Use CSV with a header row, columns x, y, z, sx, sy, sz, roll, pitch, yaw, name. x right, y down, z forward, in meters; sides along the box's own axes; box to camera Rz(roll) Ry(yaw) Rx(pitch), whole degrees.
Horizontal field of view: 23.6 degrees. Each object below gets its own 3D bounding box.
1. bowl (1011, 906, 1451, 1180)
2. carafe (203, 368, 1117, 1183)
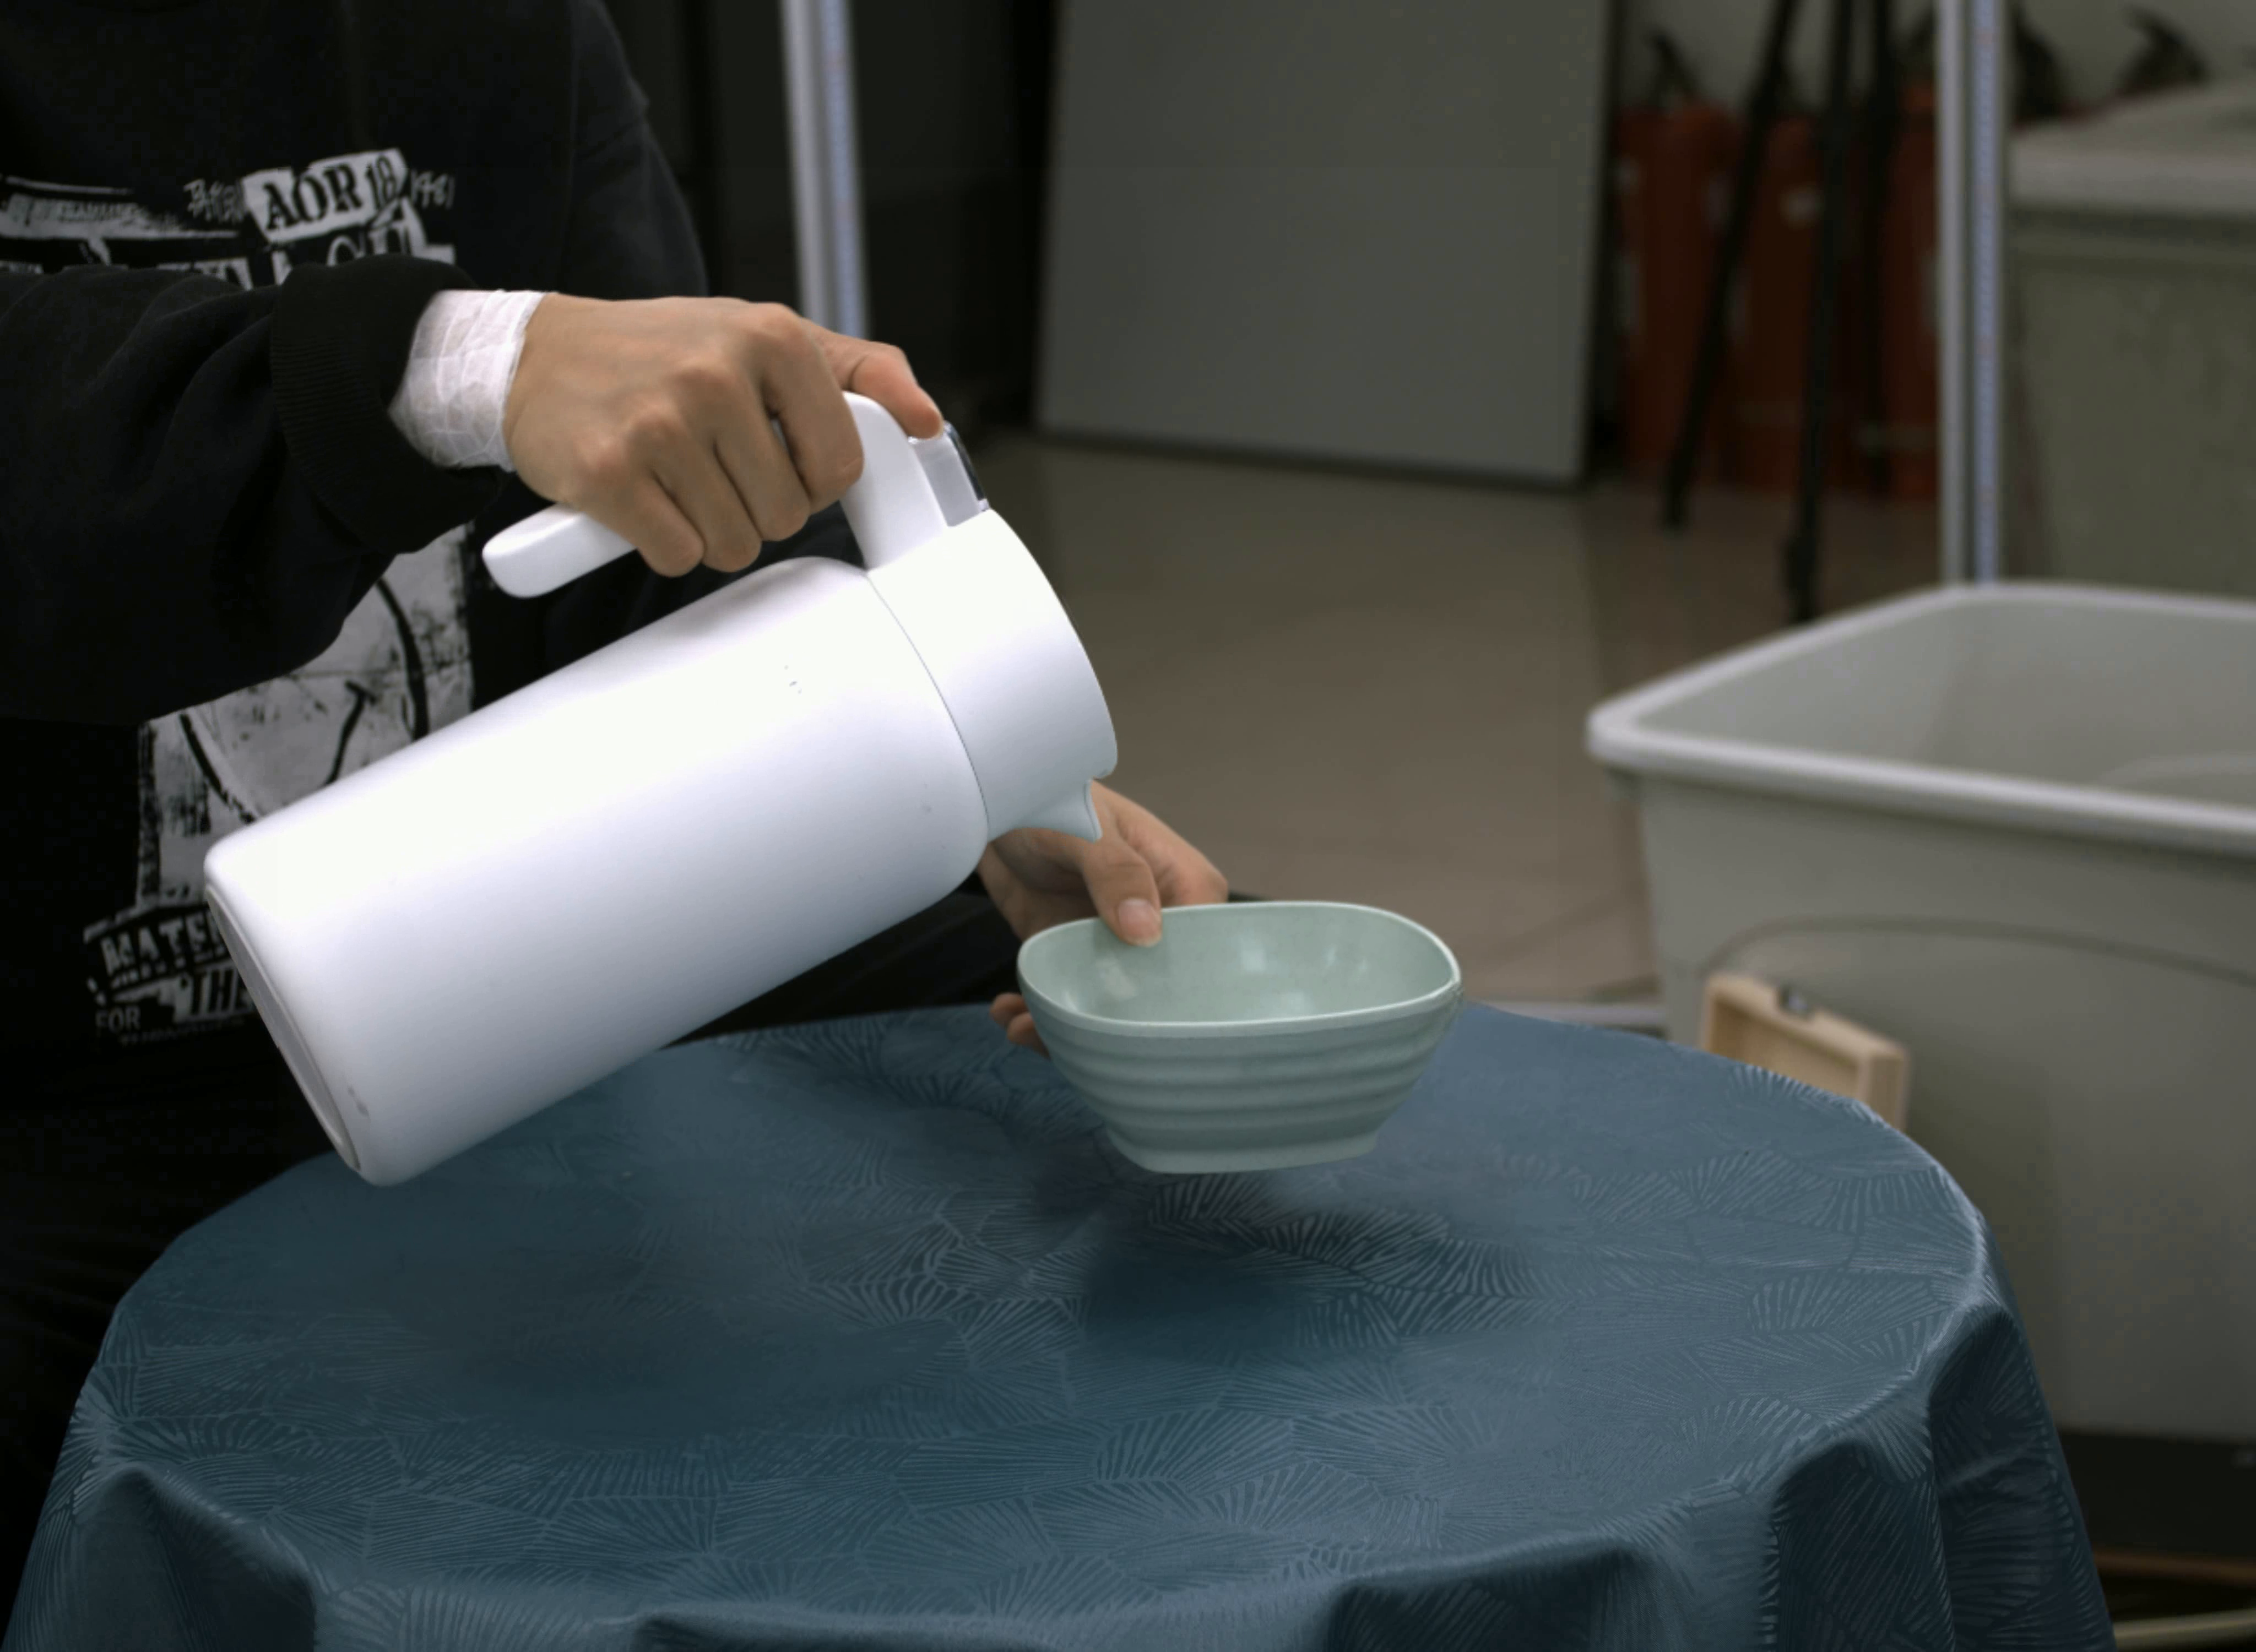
x,y,z,sx,sy,sz,roll,pitch,yaw,name
0.033,0.071,1.709,0.149,0.059,0.152,-2,14,0,bowl
-0.146,-0.017,1.639,0.265,0.173,0.125,-27,18,-10,carafe
